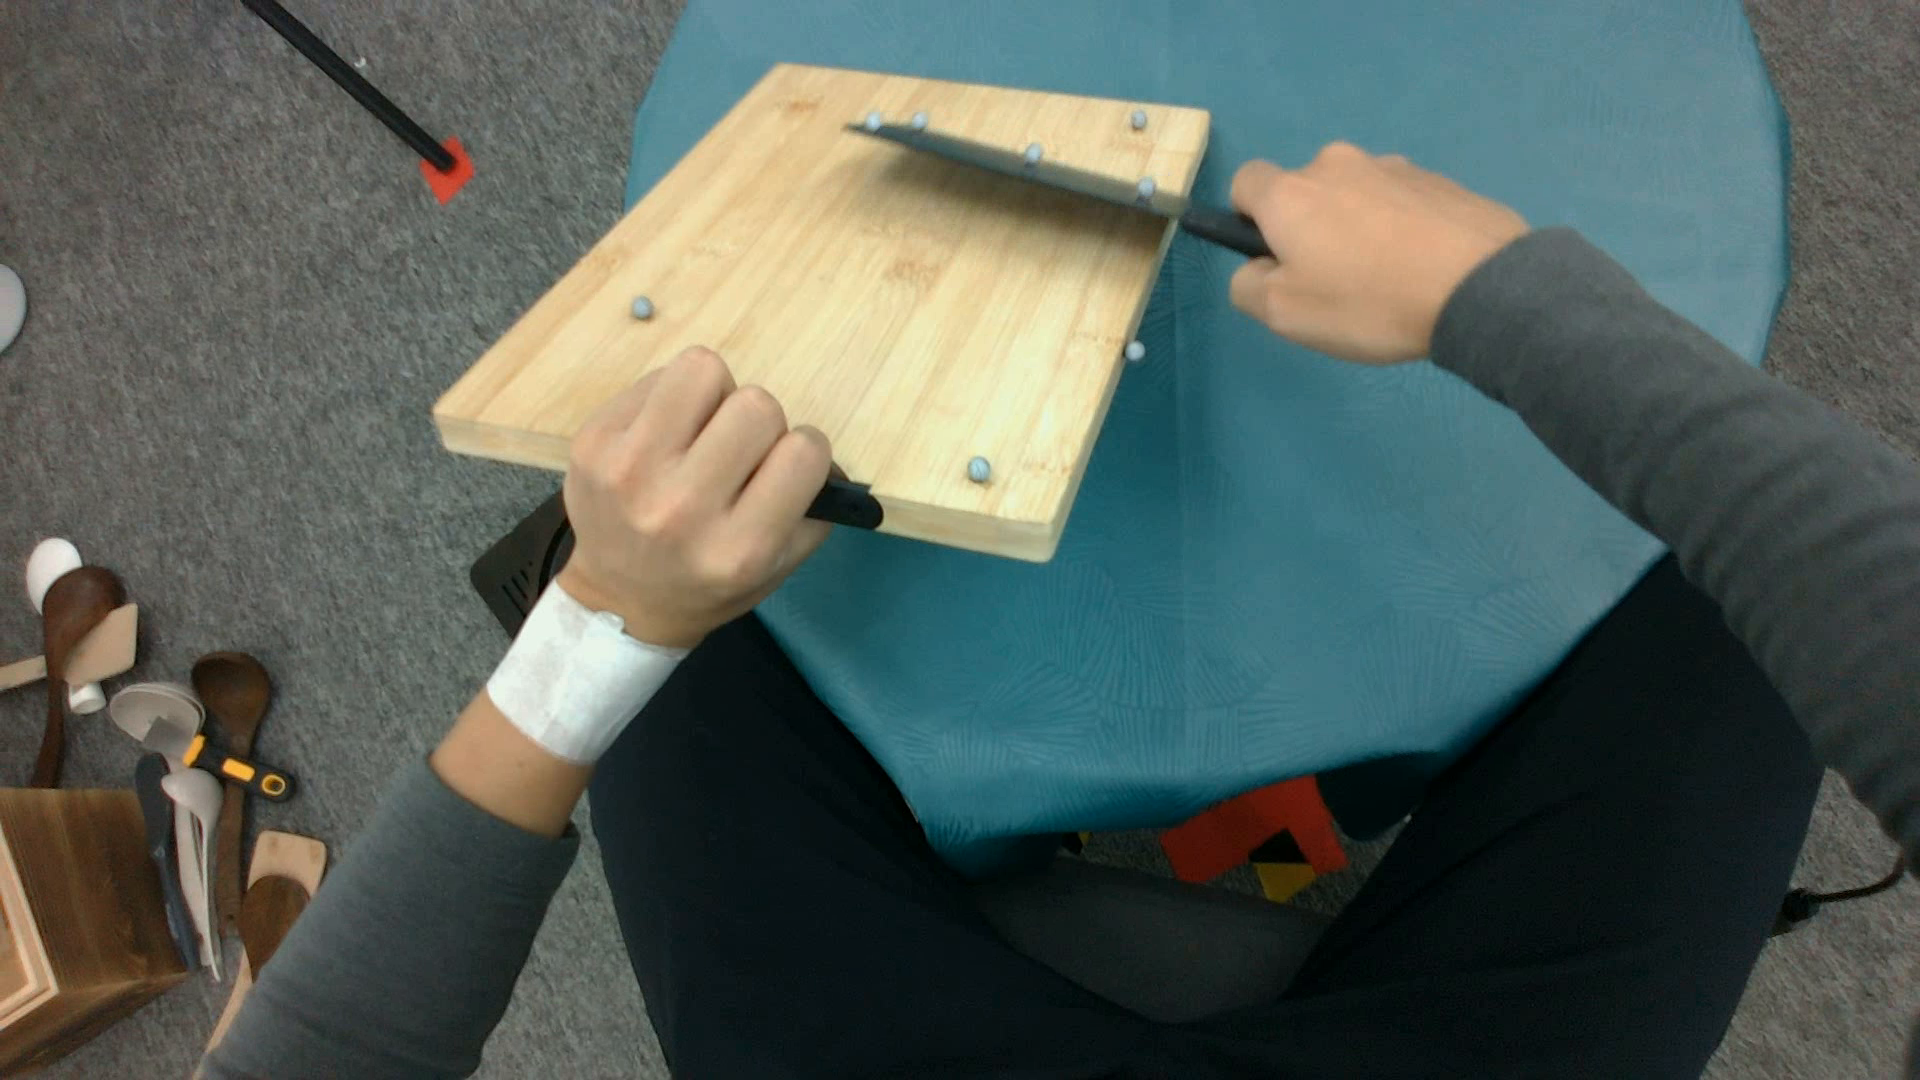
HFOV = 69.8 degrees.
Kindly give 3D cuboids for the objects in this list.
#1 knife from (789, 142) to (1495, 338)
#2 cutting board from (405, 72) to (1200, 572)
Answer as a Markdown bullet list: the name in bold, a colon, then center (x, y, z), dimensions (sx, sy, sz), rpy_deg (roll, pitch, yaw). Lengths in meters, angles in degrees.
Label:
- **knife**: center (0.070, -0.134, 0.580), dimensions (0.302, 0.081, 0.021), rpy_deg (20, 115, 20)
- **cutting board**: center (-0.041, -0.123, 0.616), dimensions (0.250, 0.023, 0.350), rpy_deg (9, 41, 12)
